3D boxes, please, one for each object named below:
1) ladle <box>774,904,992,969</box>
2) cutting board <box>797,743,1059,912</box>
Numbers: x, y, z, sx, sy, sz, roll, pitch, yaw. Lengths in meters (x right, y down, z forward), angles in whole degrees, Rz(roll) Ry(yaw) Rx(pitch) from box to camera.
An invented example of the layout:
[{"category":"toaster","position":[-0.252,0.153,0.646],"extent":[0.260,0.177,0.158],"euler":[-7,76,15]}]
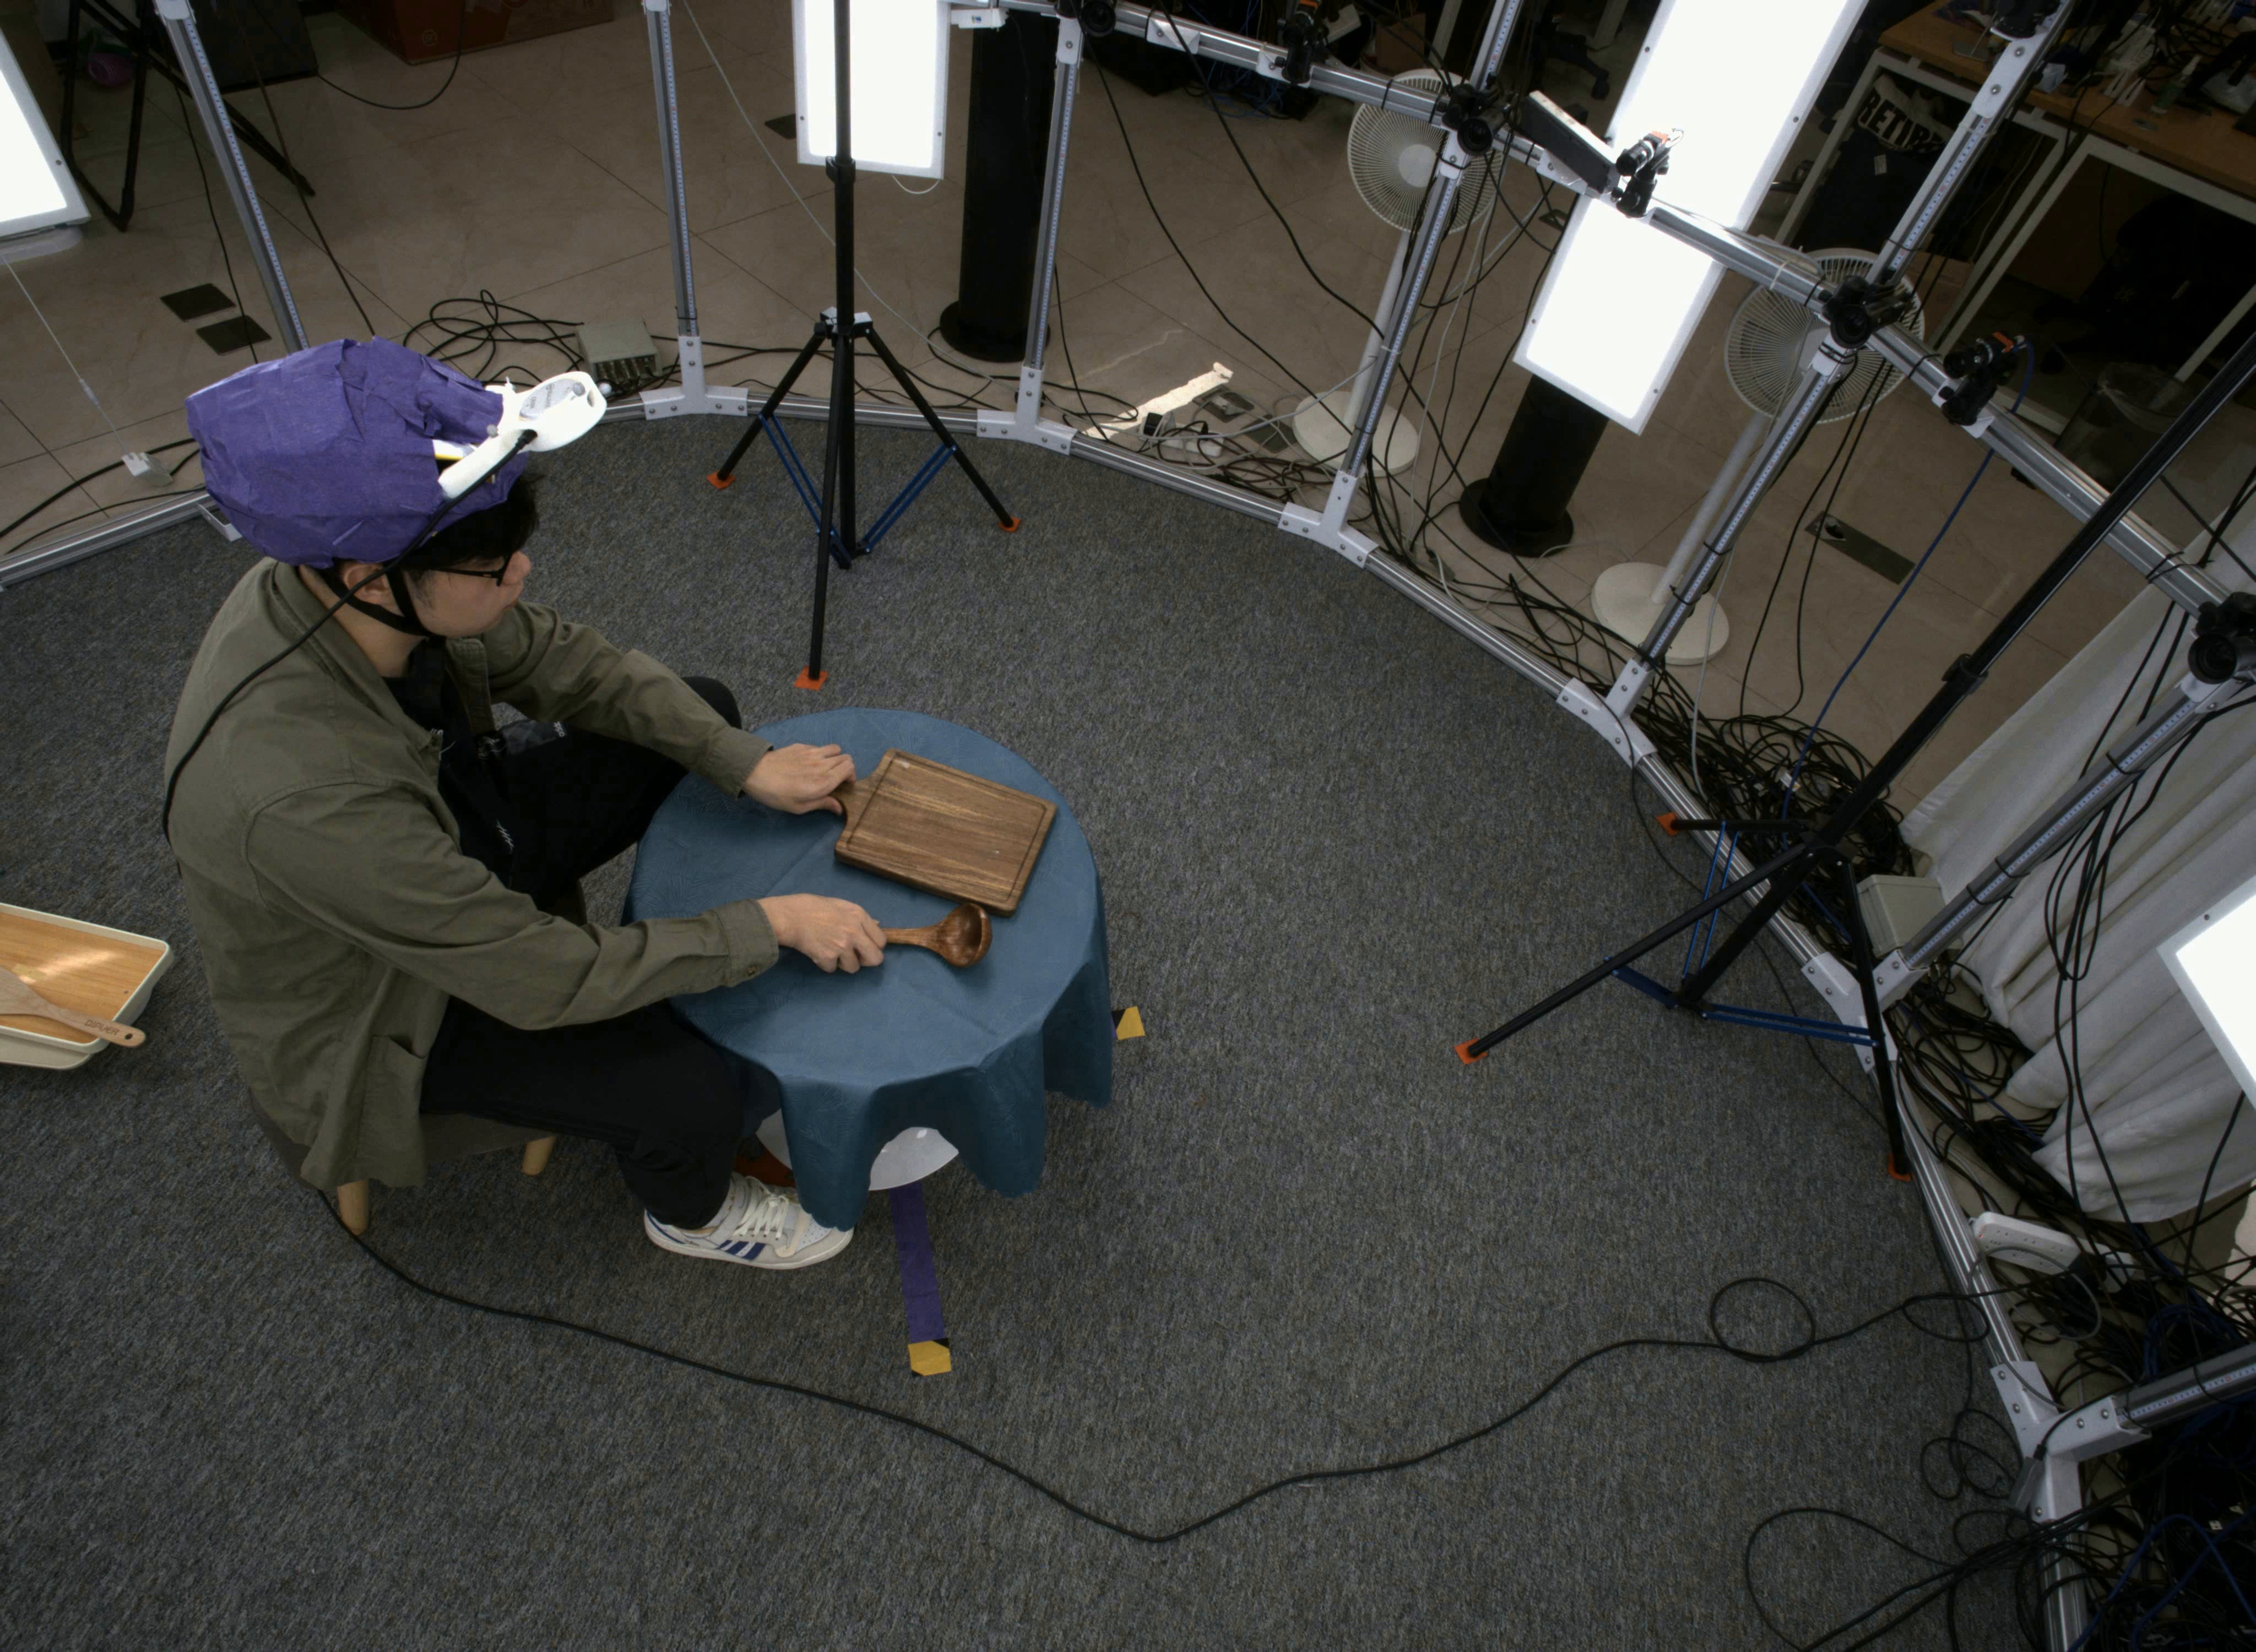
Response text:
[{"category":"ladle","position":[-0.307,0.132,1.624],"extent":[0.274,0.077,0.081],"euler":[4,71,-11]},{"category":"cutting board","position":[-0.284,-0.019,1.769],"extent":[0.349,0.023,0.199],"euler":[20,52,0]}]
